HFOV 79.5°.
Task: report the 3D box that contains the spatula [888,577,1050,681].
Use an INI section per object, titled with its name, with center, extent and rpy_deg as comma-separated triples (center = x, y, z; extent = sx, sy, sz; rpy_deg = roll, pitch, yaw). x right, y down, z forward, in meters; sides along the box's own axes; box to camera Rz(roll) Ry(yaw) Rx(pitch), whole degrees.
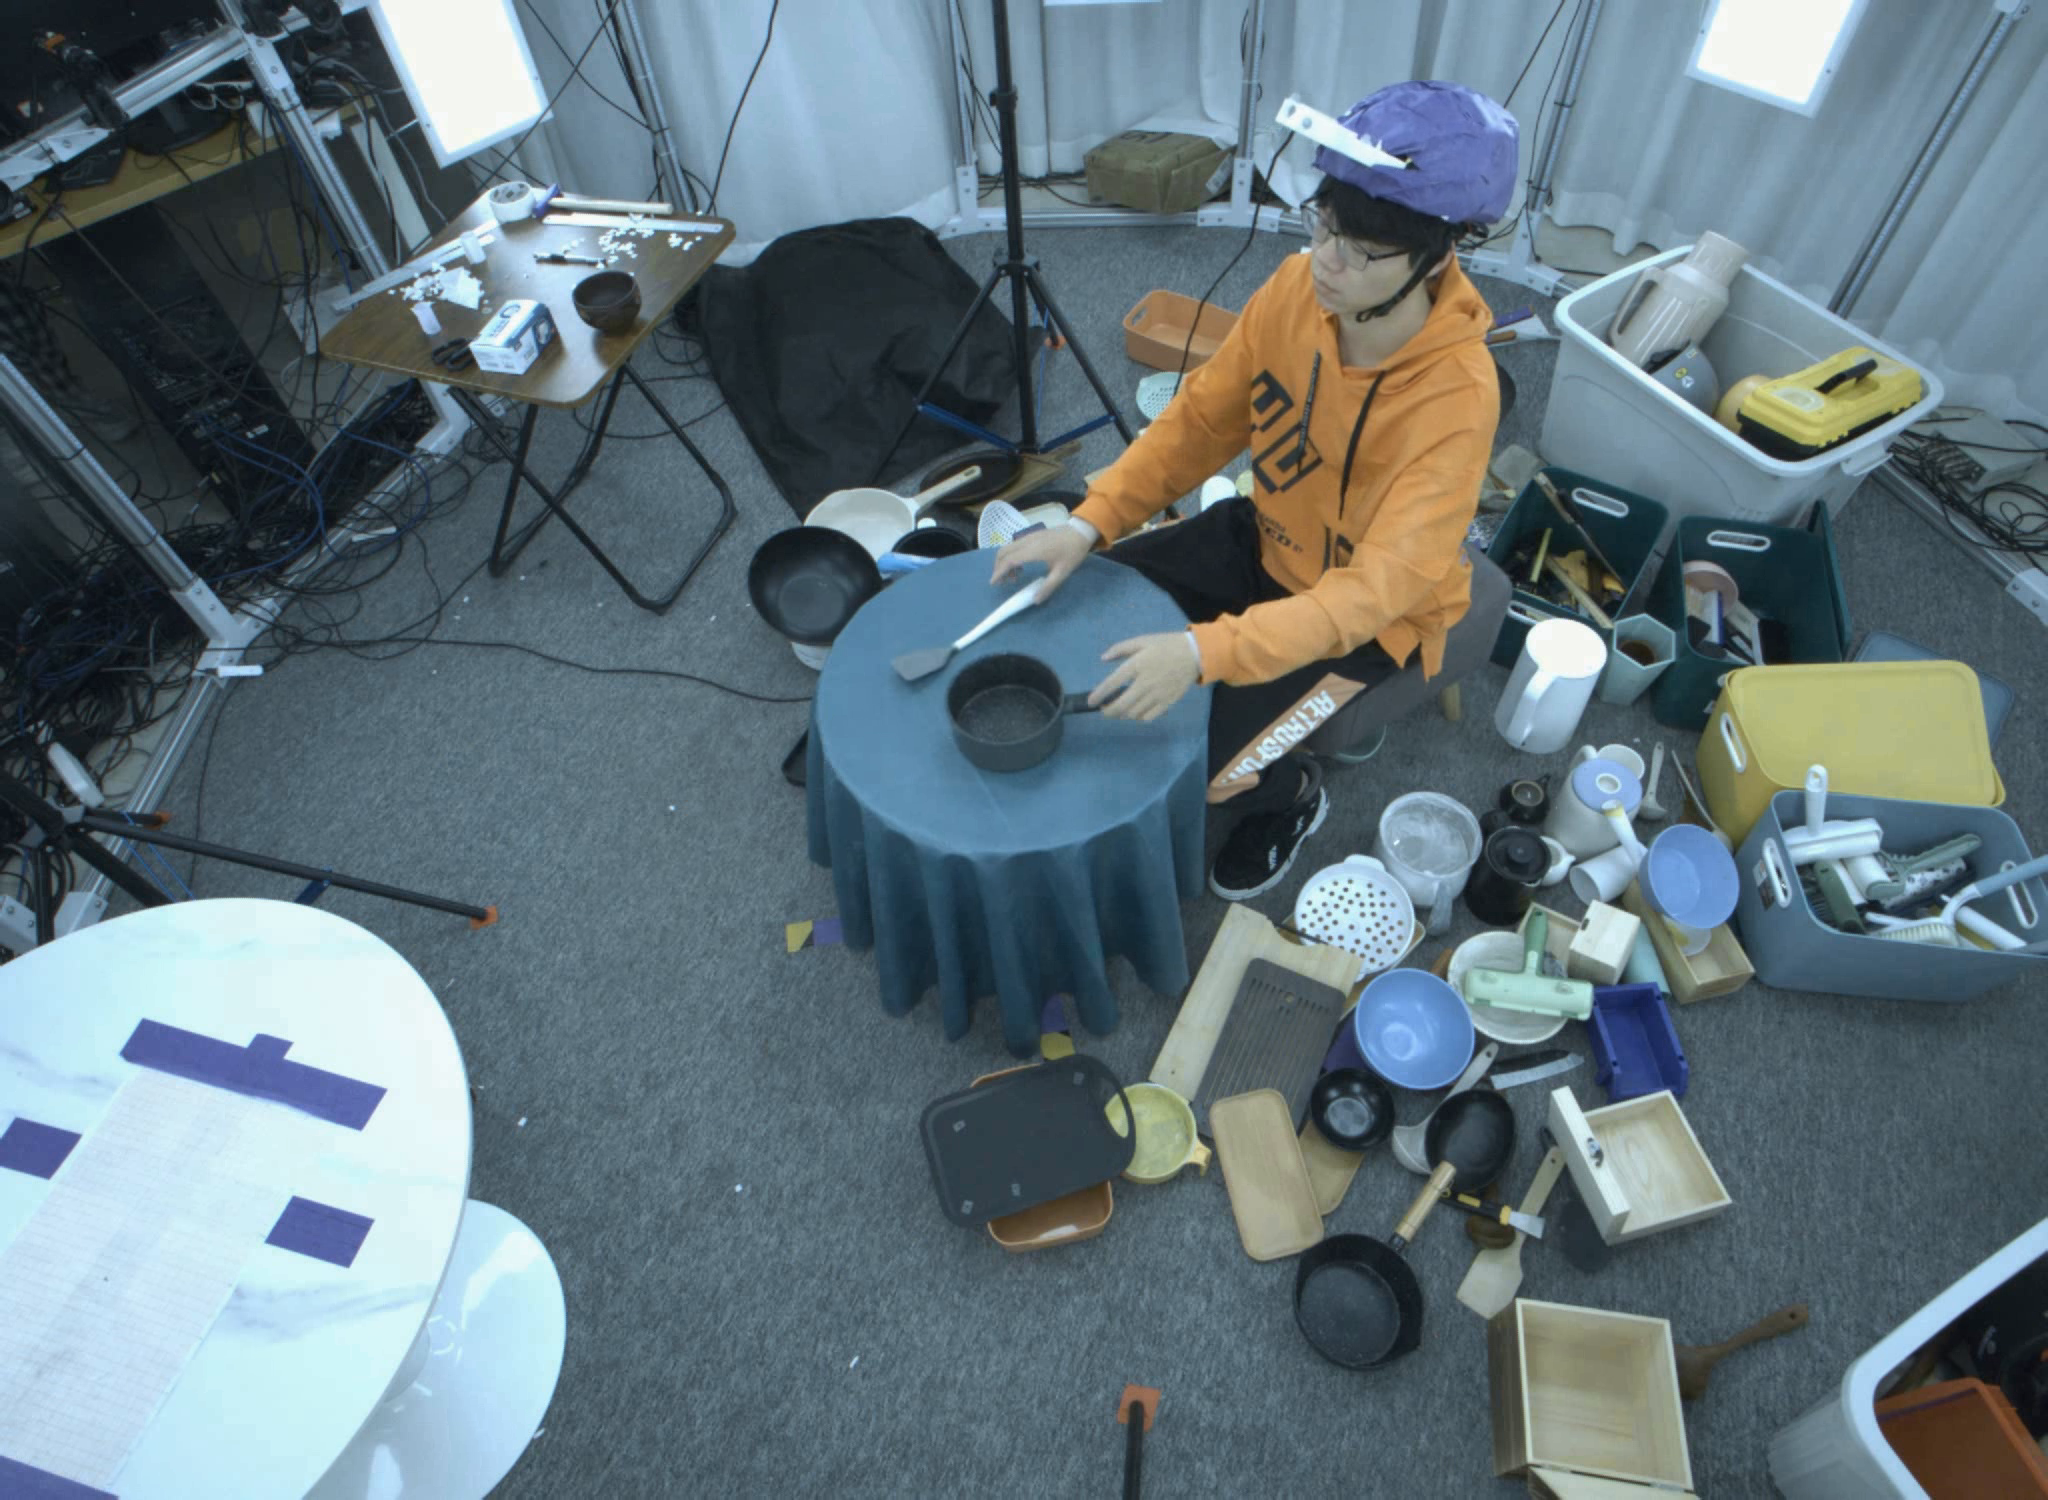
[spatula]
center = -0.081, -0.186, 1.902
extent = 0.290, 0.032, 0.058
rpy_deg = -33, 64, -20

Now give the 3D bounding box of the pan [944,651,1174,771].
[pan]
center = 0.052, -0.057, 1.773
extent = 0.328, 0.087, 0.170
rpy_deg = 0, 56, 4
